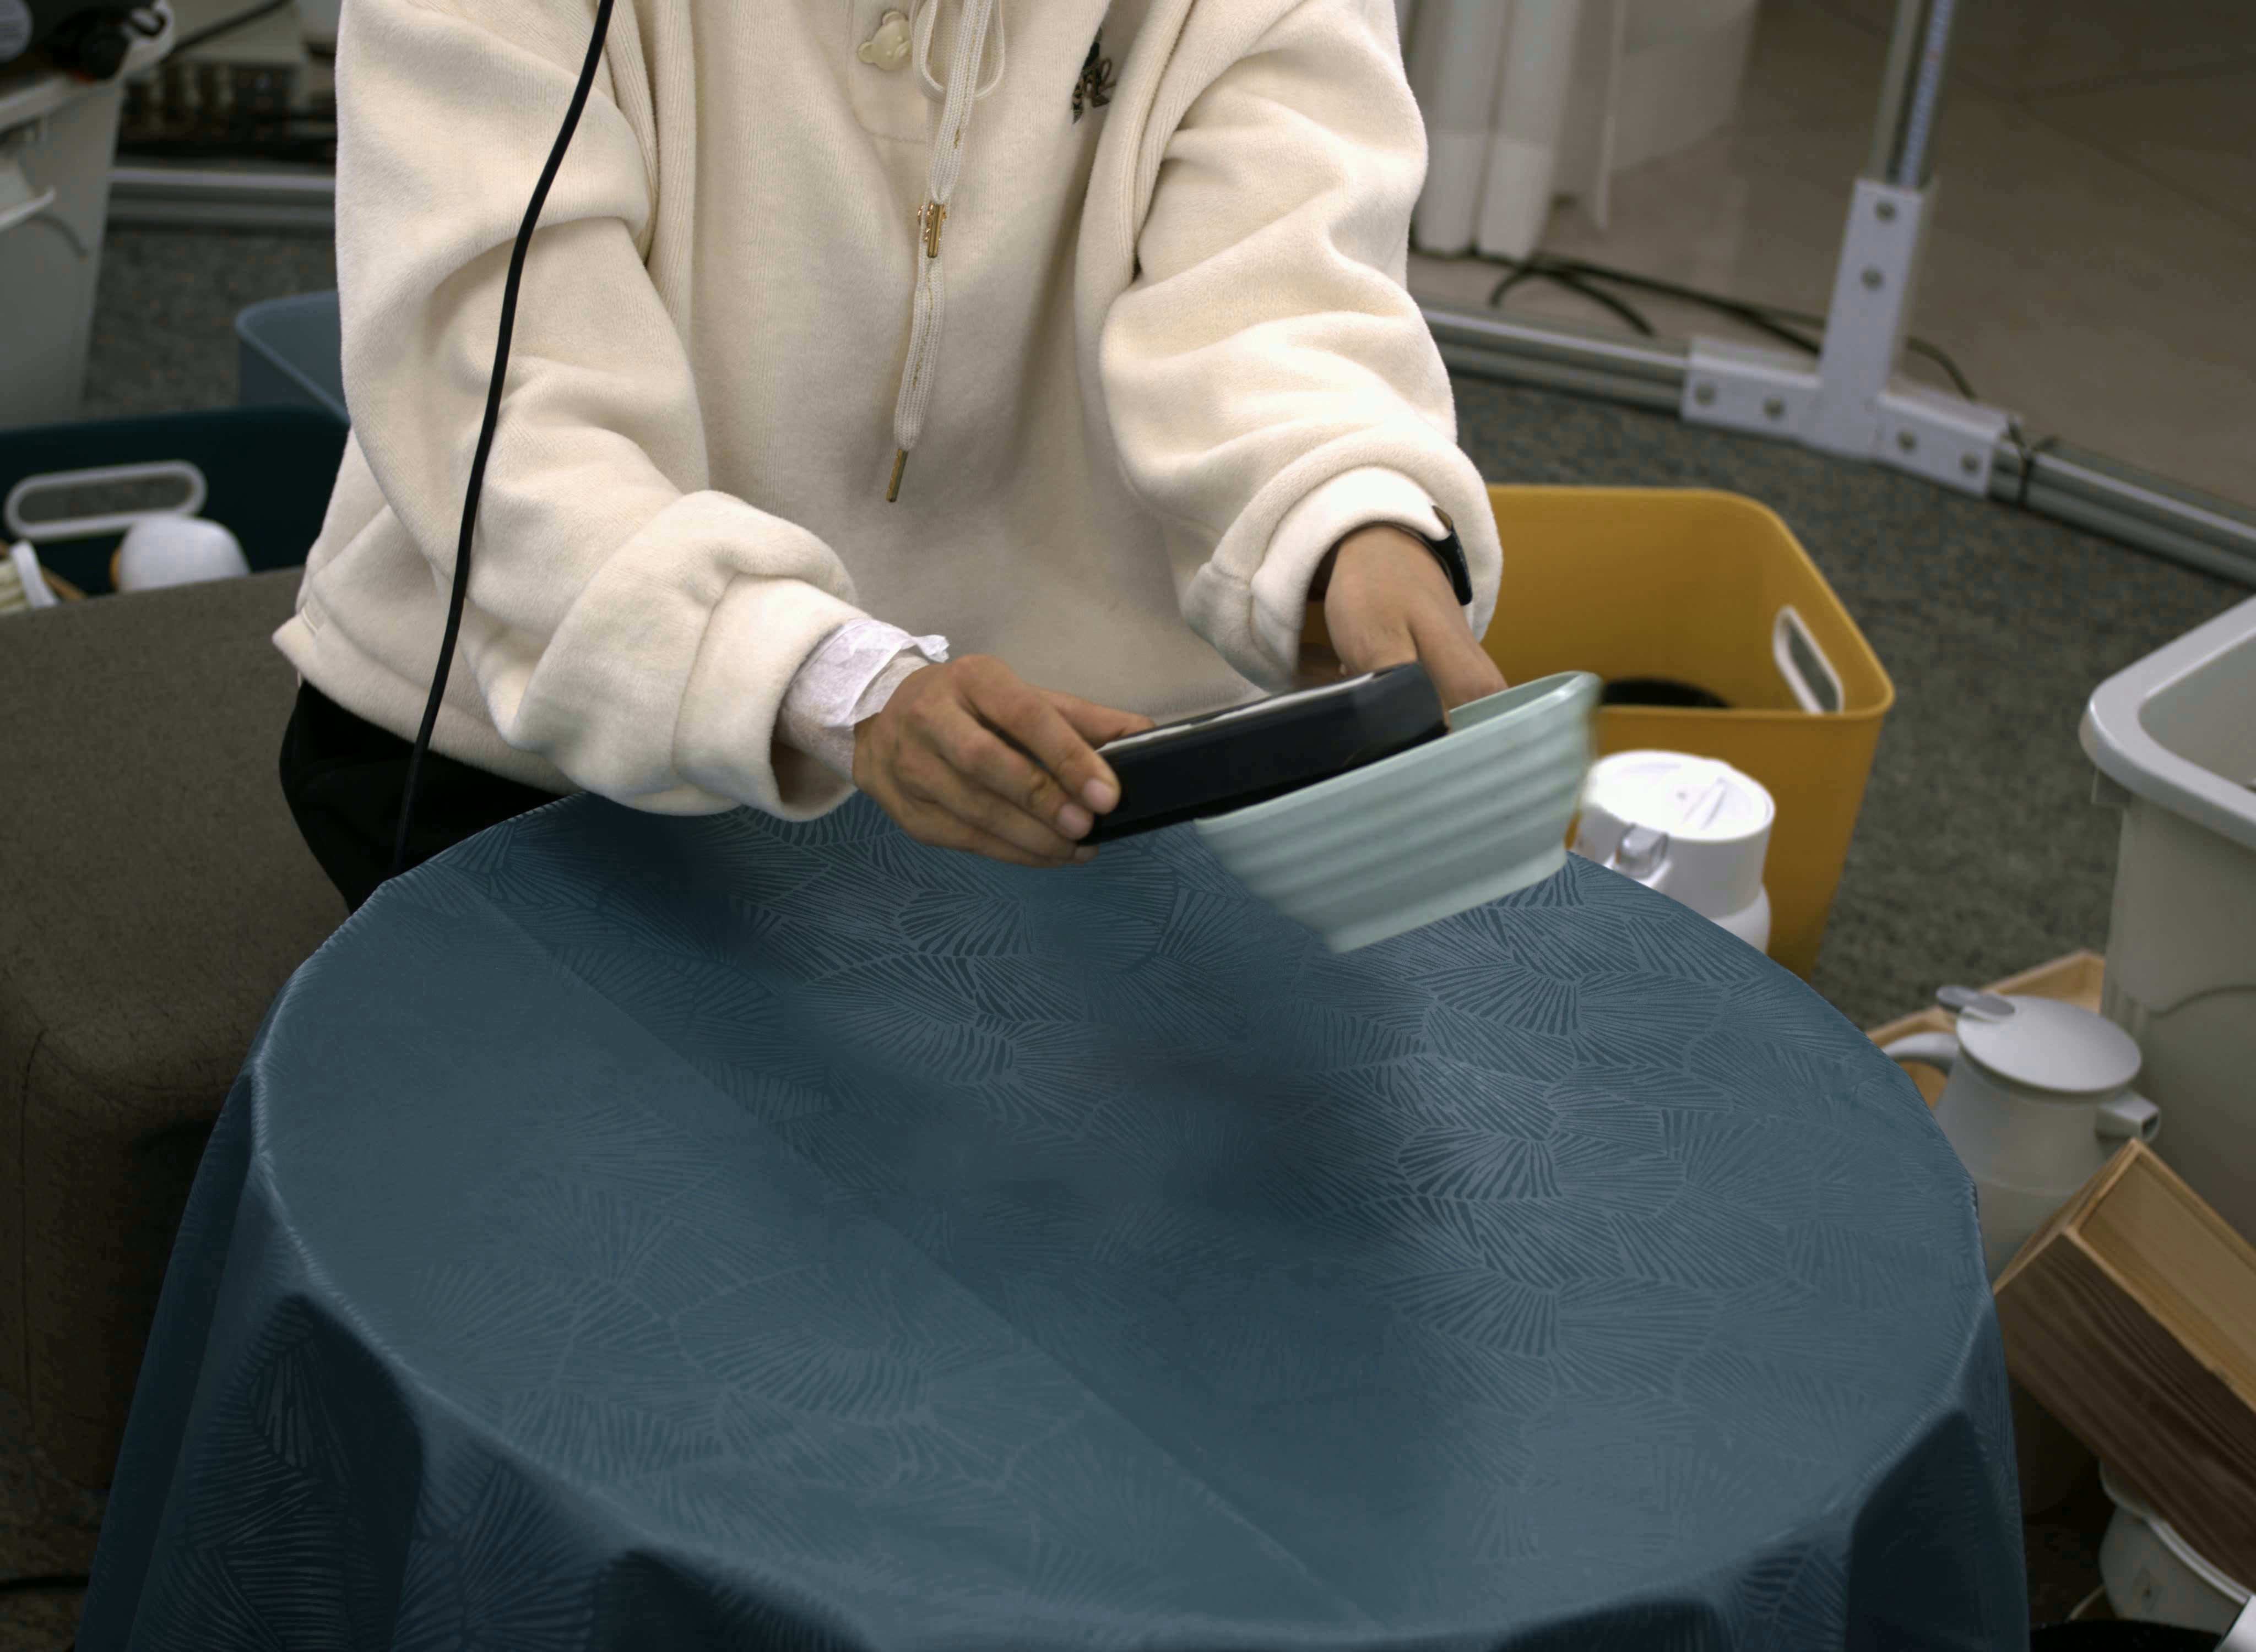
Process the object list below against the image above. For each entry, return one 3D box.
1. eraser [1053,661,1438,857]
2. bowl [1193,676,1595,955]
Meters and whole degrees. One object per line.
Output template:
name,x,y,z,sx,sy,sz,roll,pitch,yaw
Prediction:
eraser,0.040,-0.023,1.772,0.126,0.030,0.053,-17,4,33
bowl,0.096,0.000,1.766,0.151,0.059,0.151,-19,4,1
